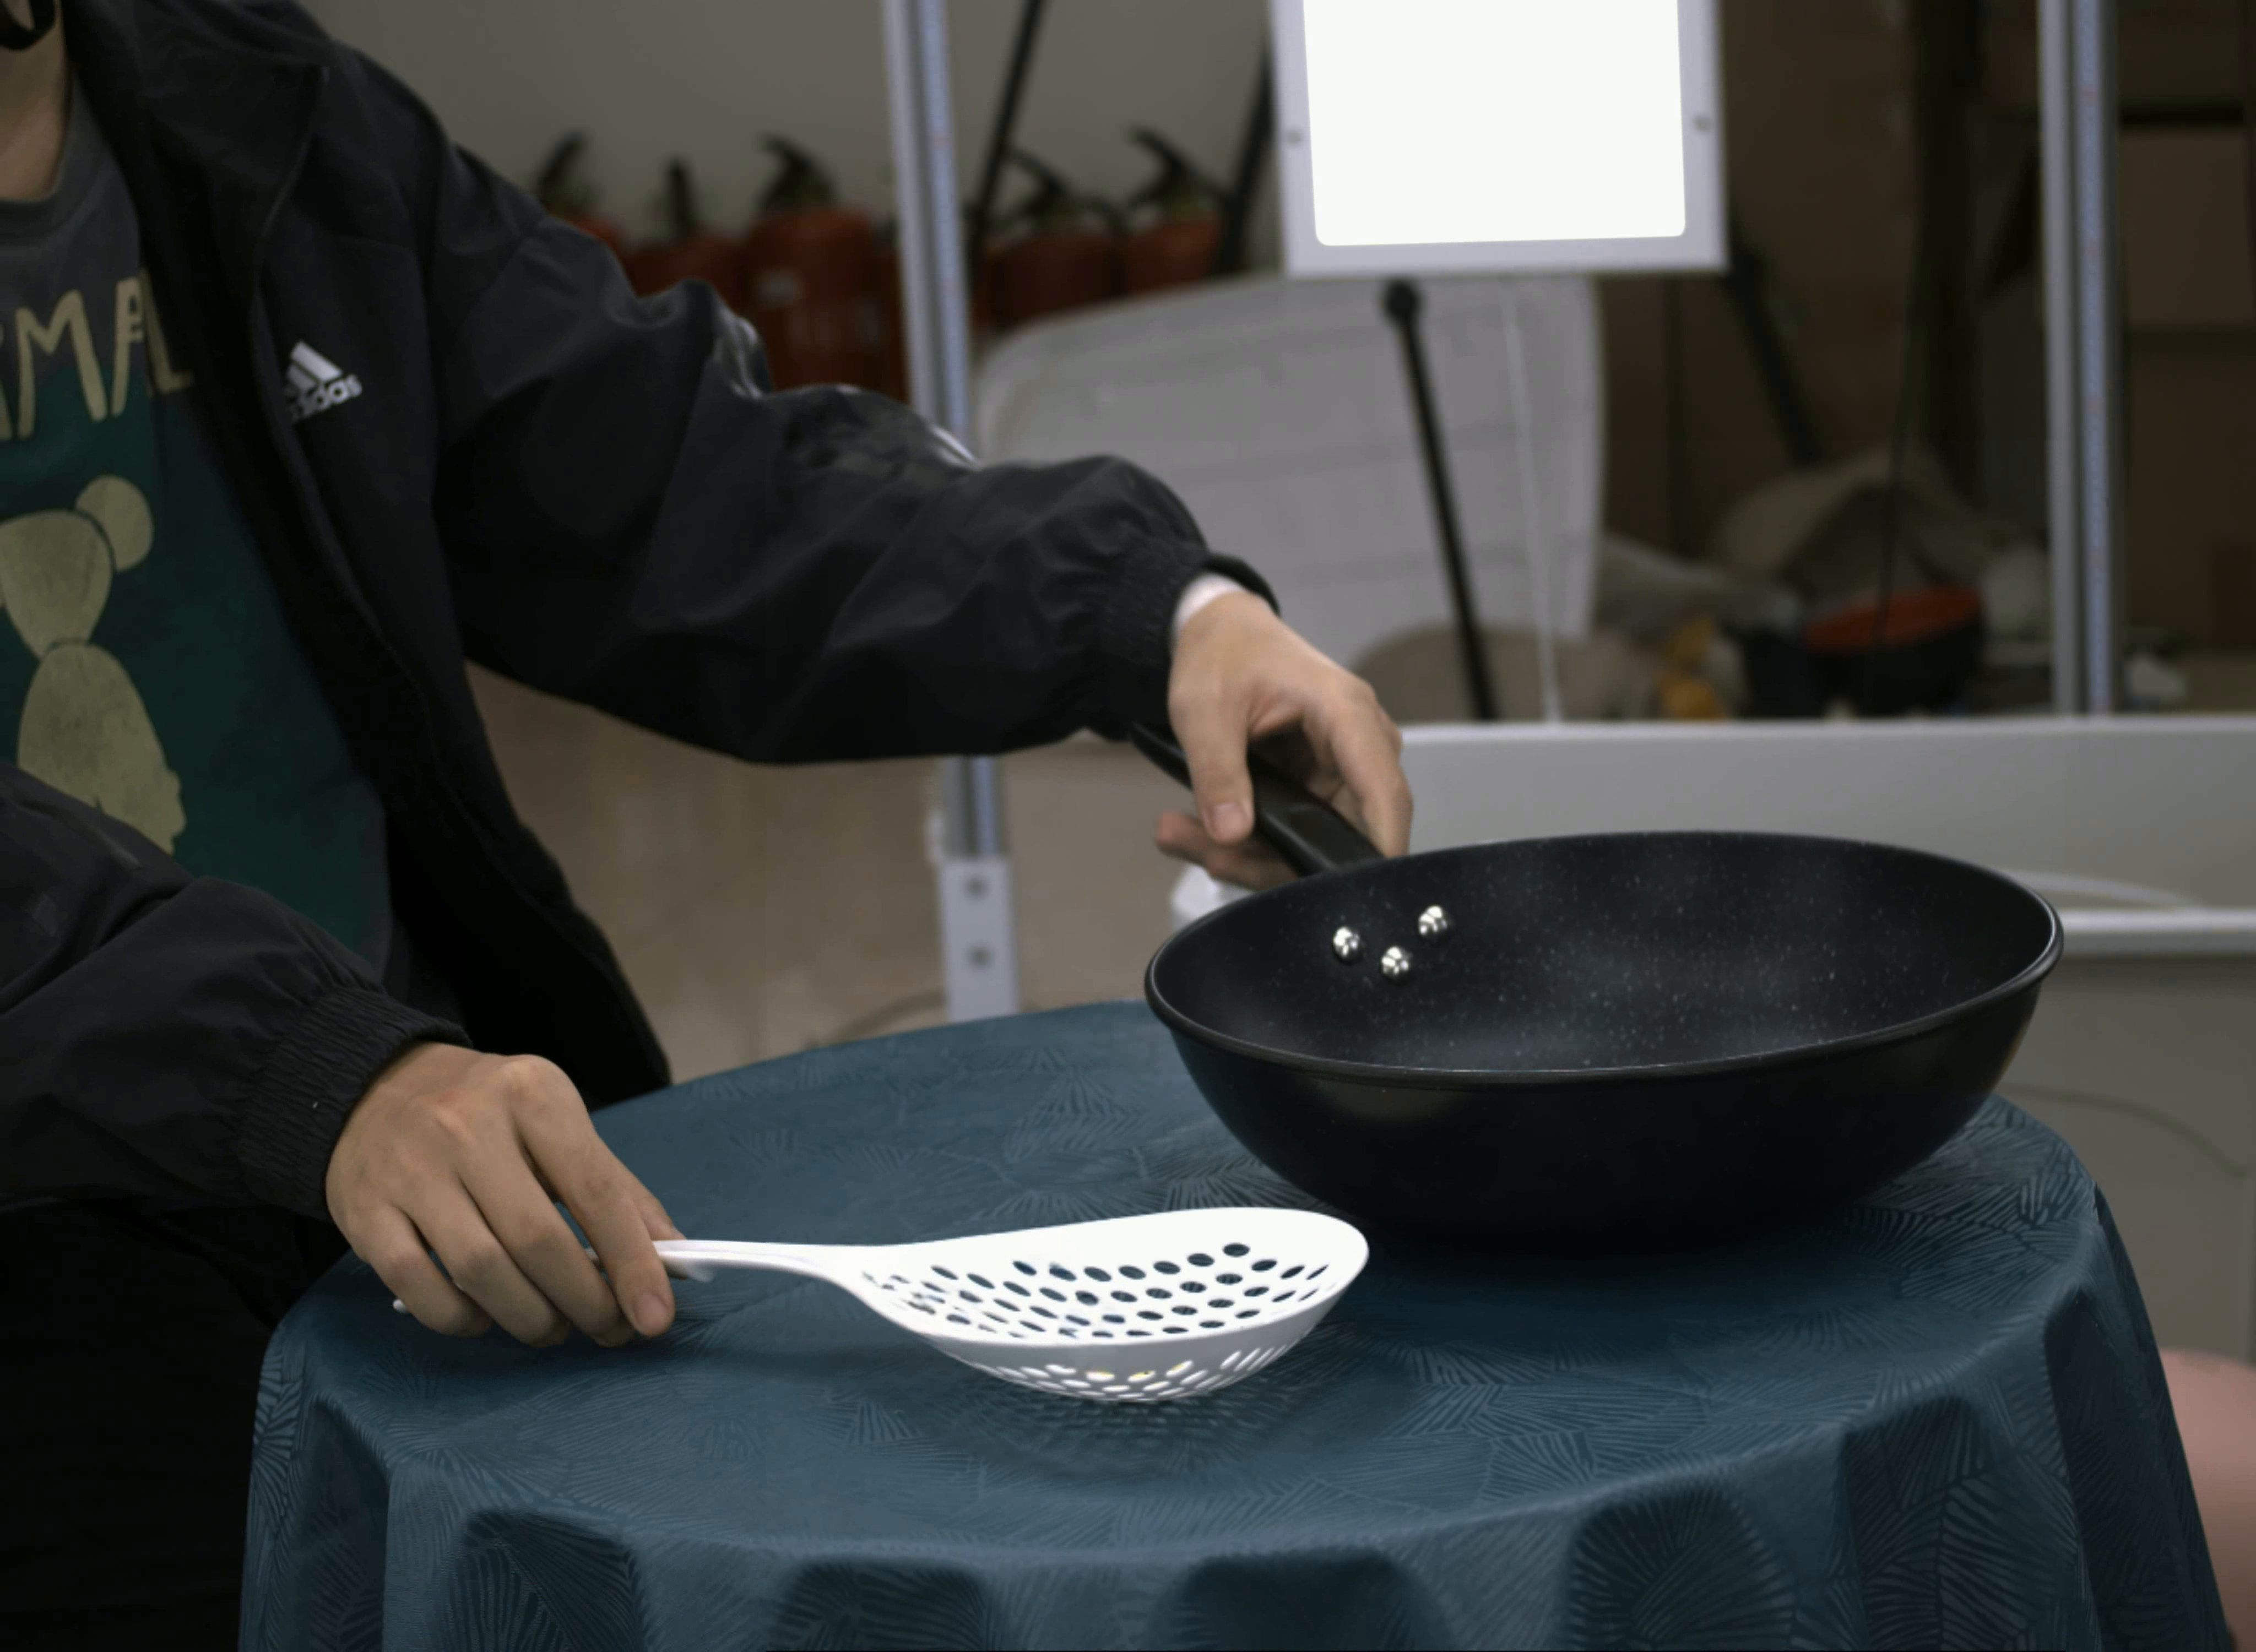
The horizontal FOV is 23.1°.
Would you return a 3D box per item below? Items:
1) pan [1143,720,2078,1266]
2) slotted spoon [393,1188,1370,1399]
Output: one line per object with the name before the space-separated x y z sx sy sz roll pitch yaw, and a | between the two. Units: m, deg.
pan | 0.127 0.056 1.916 0.304 0.112 0.485 -10 15 -26
slotted spoon | -0.087 0.149 1.751 0.354 0.050 0.134 2 16 30
